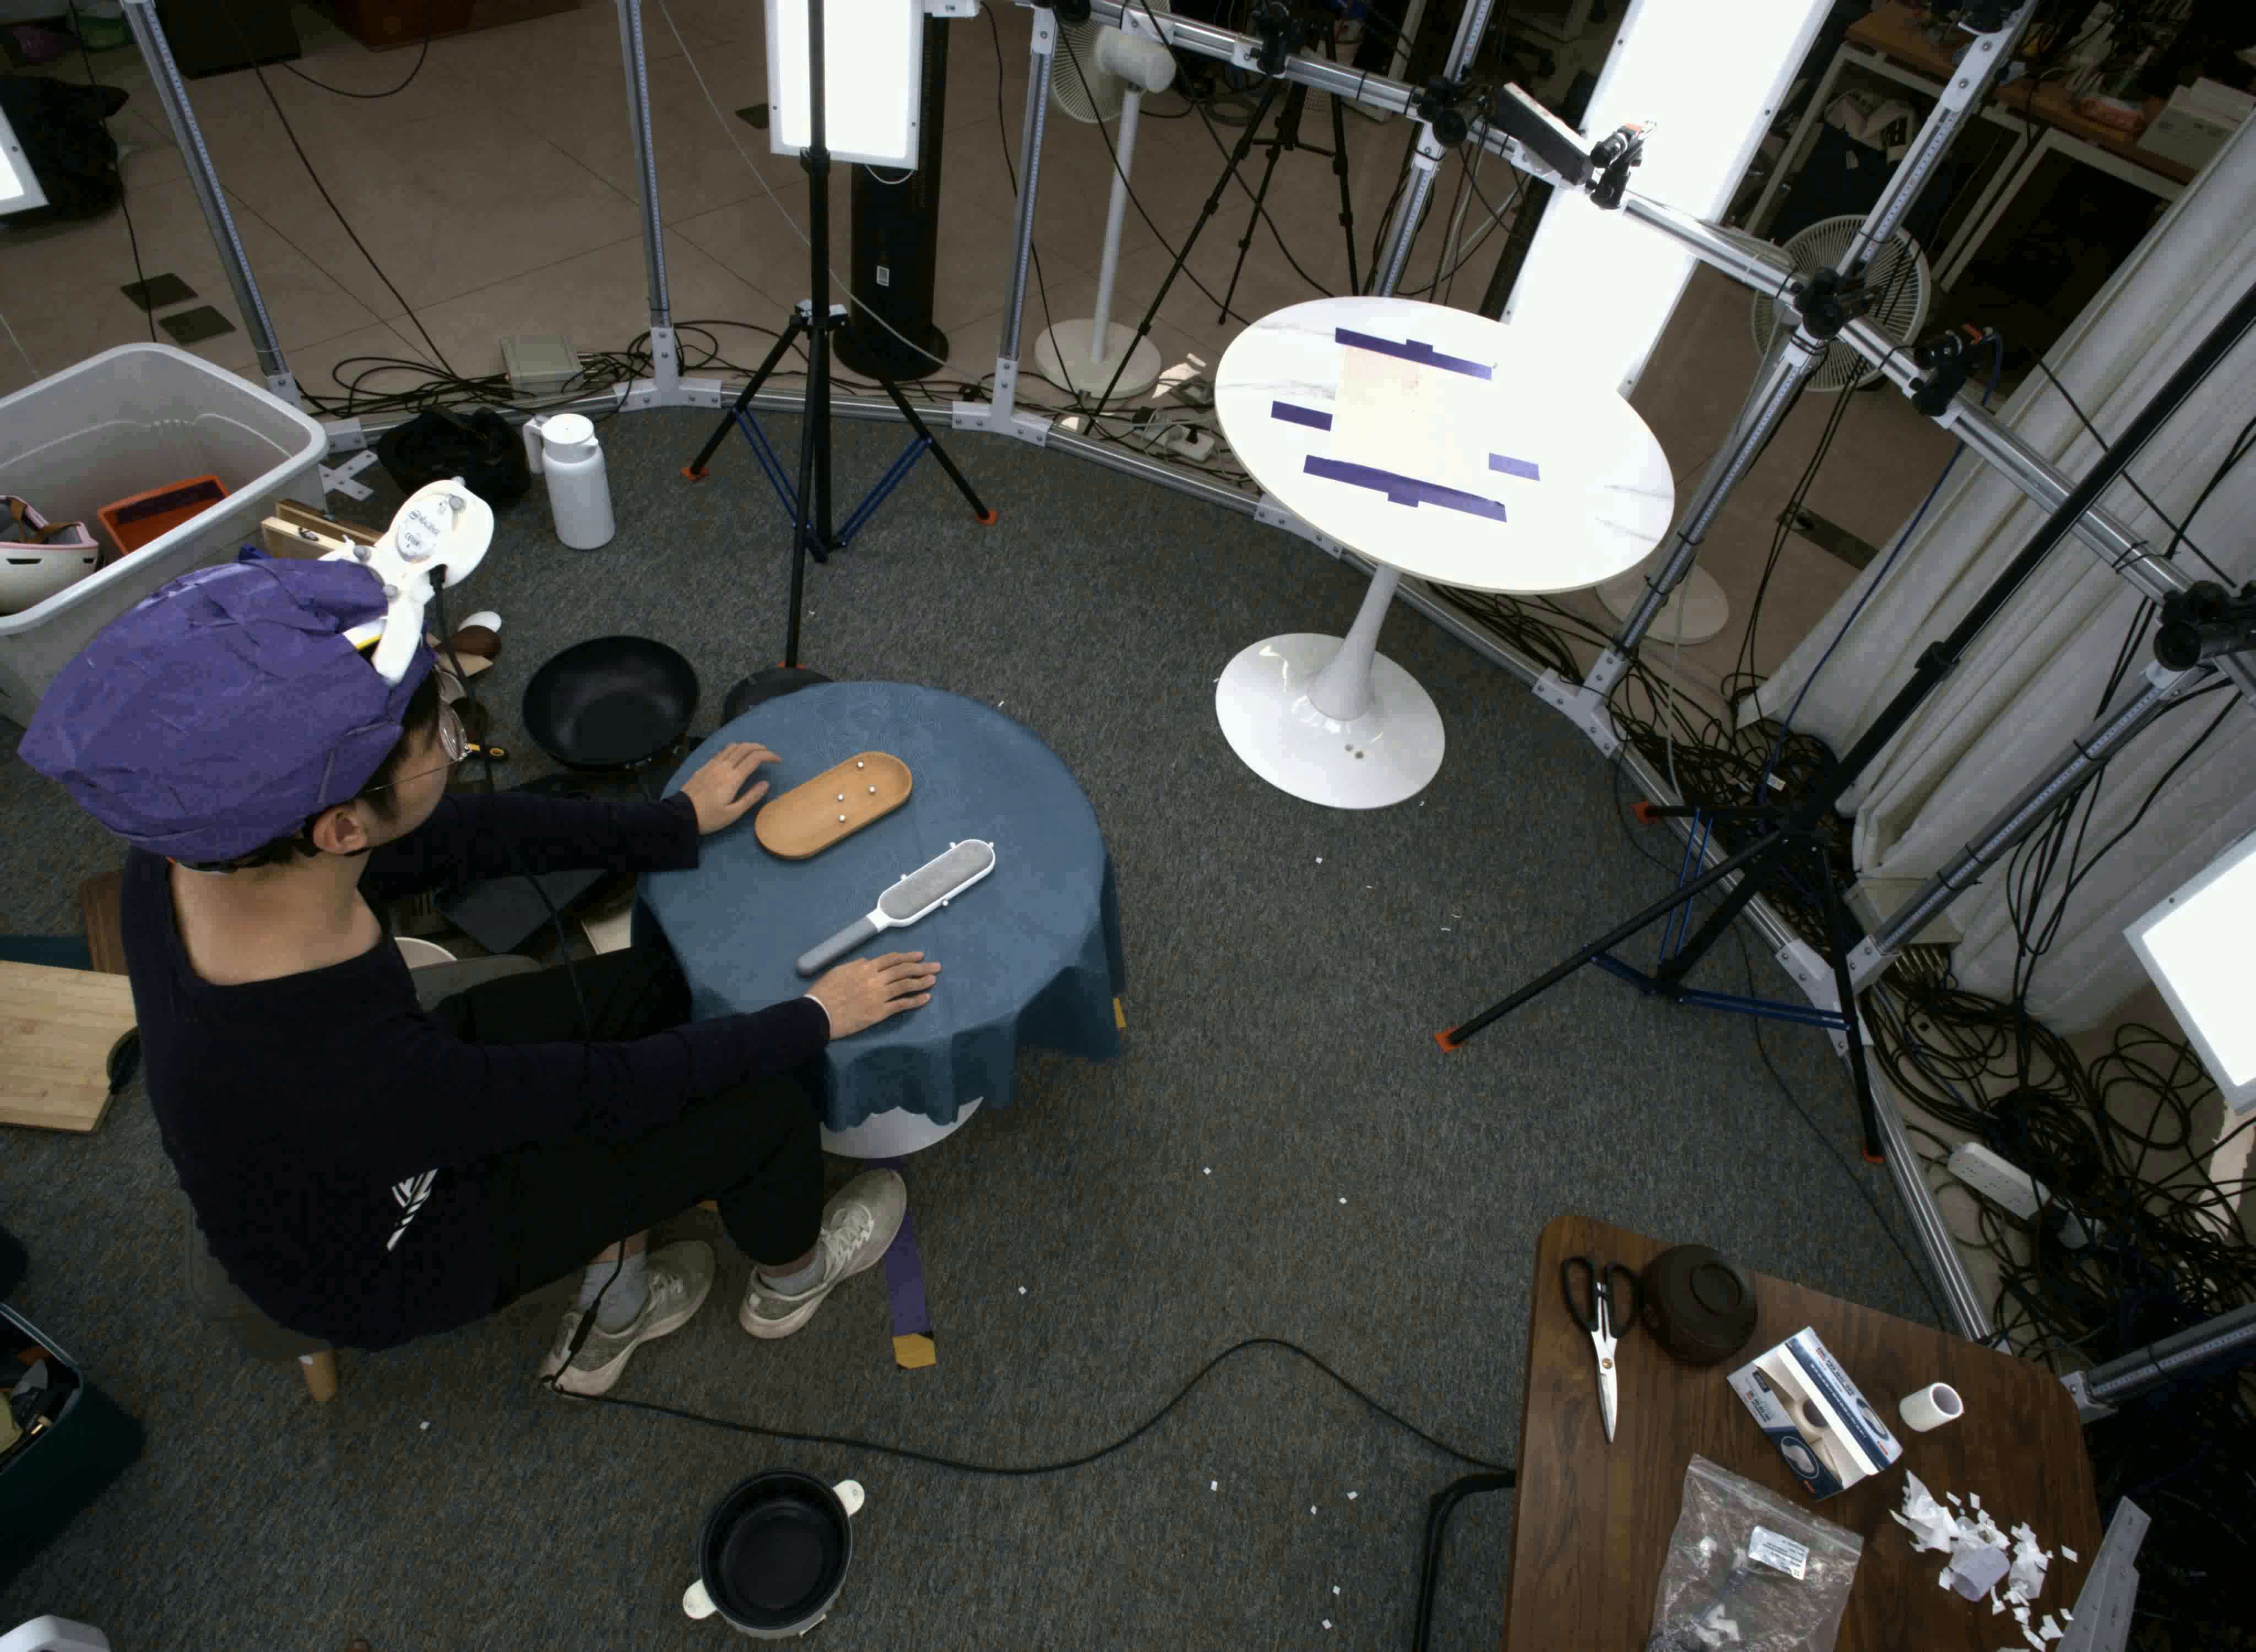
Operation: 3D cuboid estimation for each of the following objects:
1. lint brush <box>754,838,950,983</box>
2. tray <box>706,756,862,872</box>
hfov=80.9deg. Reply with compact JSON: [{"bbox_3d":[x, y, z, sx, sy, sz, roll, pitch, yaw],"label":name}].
[{"bbox_3d":[-0.349,0.104,1.660,0.059,0.021,0.309,45,56,13],"label":"lint brush"},{"bbox_3d":[-0.457,-0.019,1.731,0.099,0.021,0.231,39,56,18],"label":"tray"}]
